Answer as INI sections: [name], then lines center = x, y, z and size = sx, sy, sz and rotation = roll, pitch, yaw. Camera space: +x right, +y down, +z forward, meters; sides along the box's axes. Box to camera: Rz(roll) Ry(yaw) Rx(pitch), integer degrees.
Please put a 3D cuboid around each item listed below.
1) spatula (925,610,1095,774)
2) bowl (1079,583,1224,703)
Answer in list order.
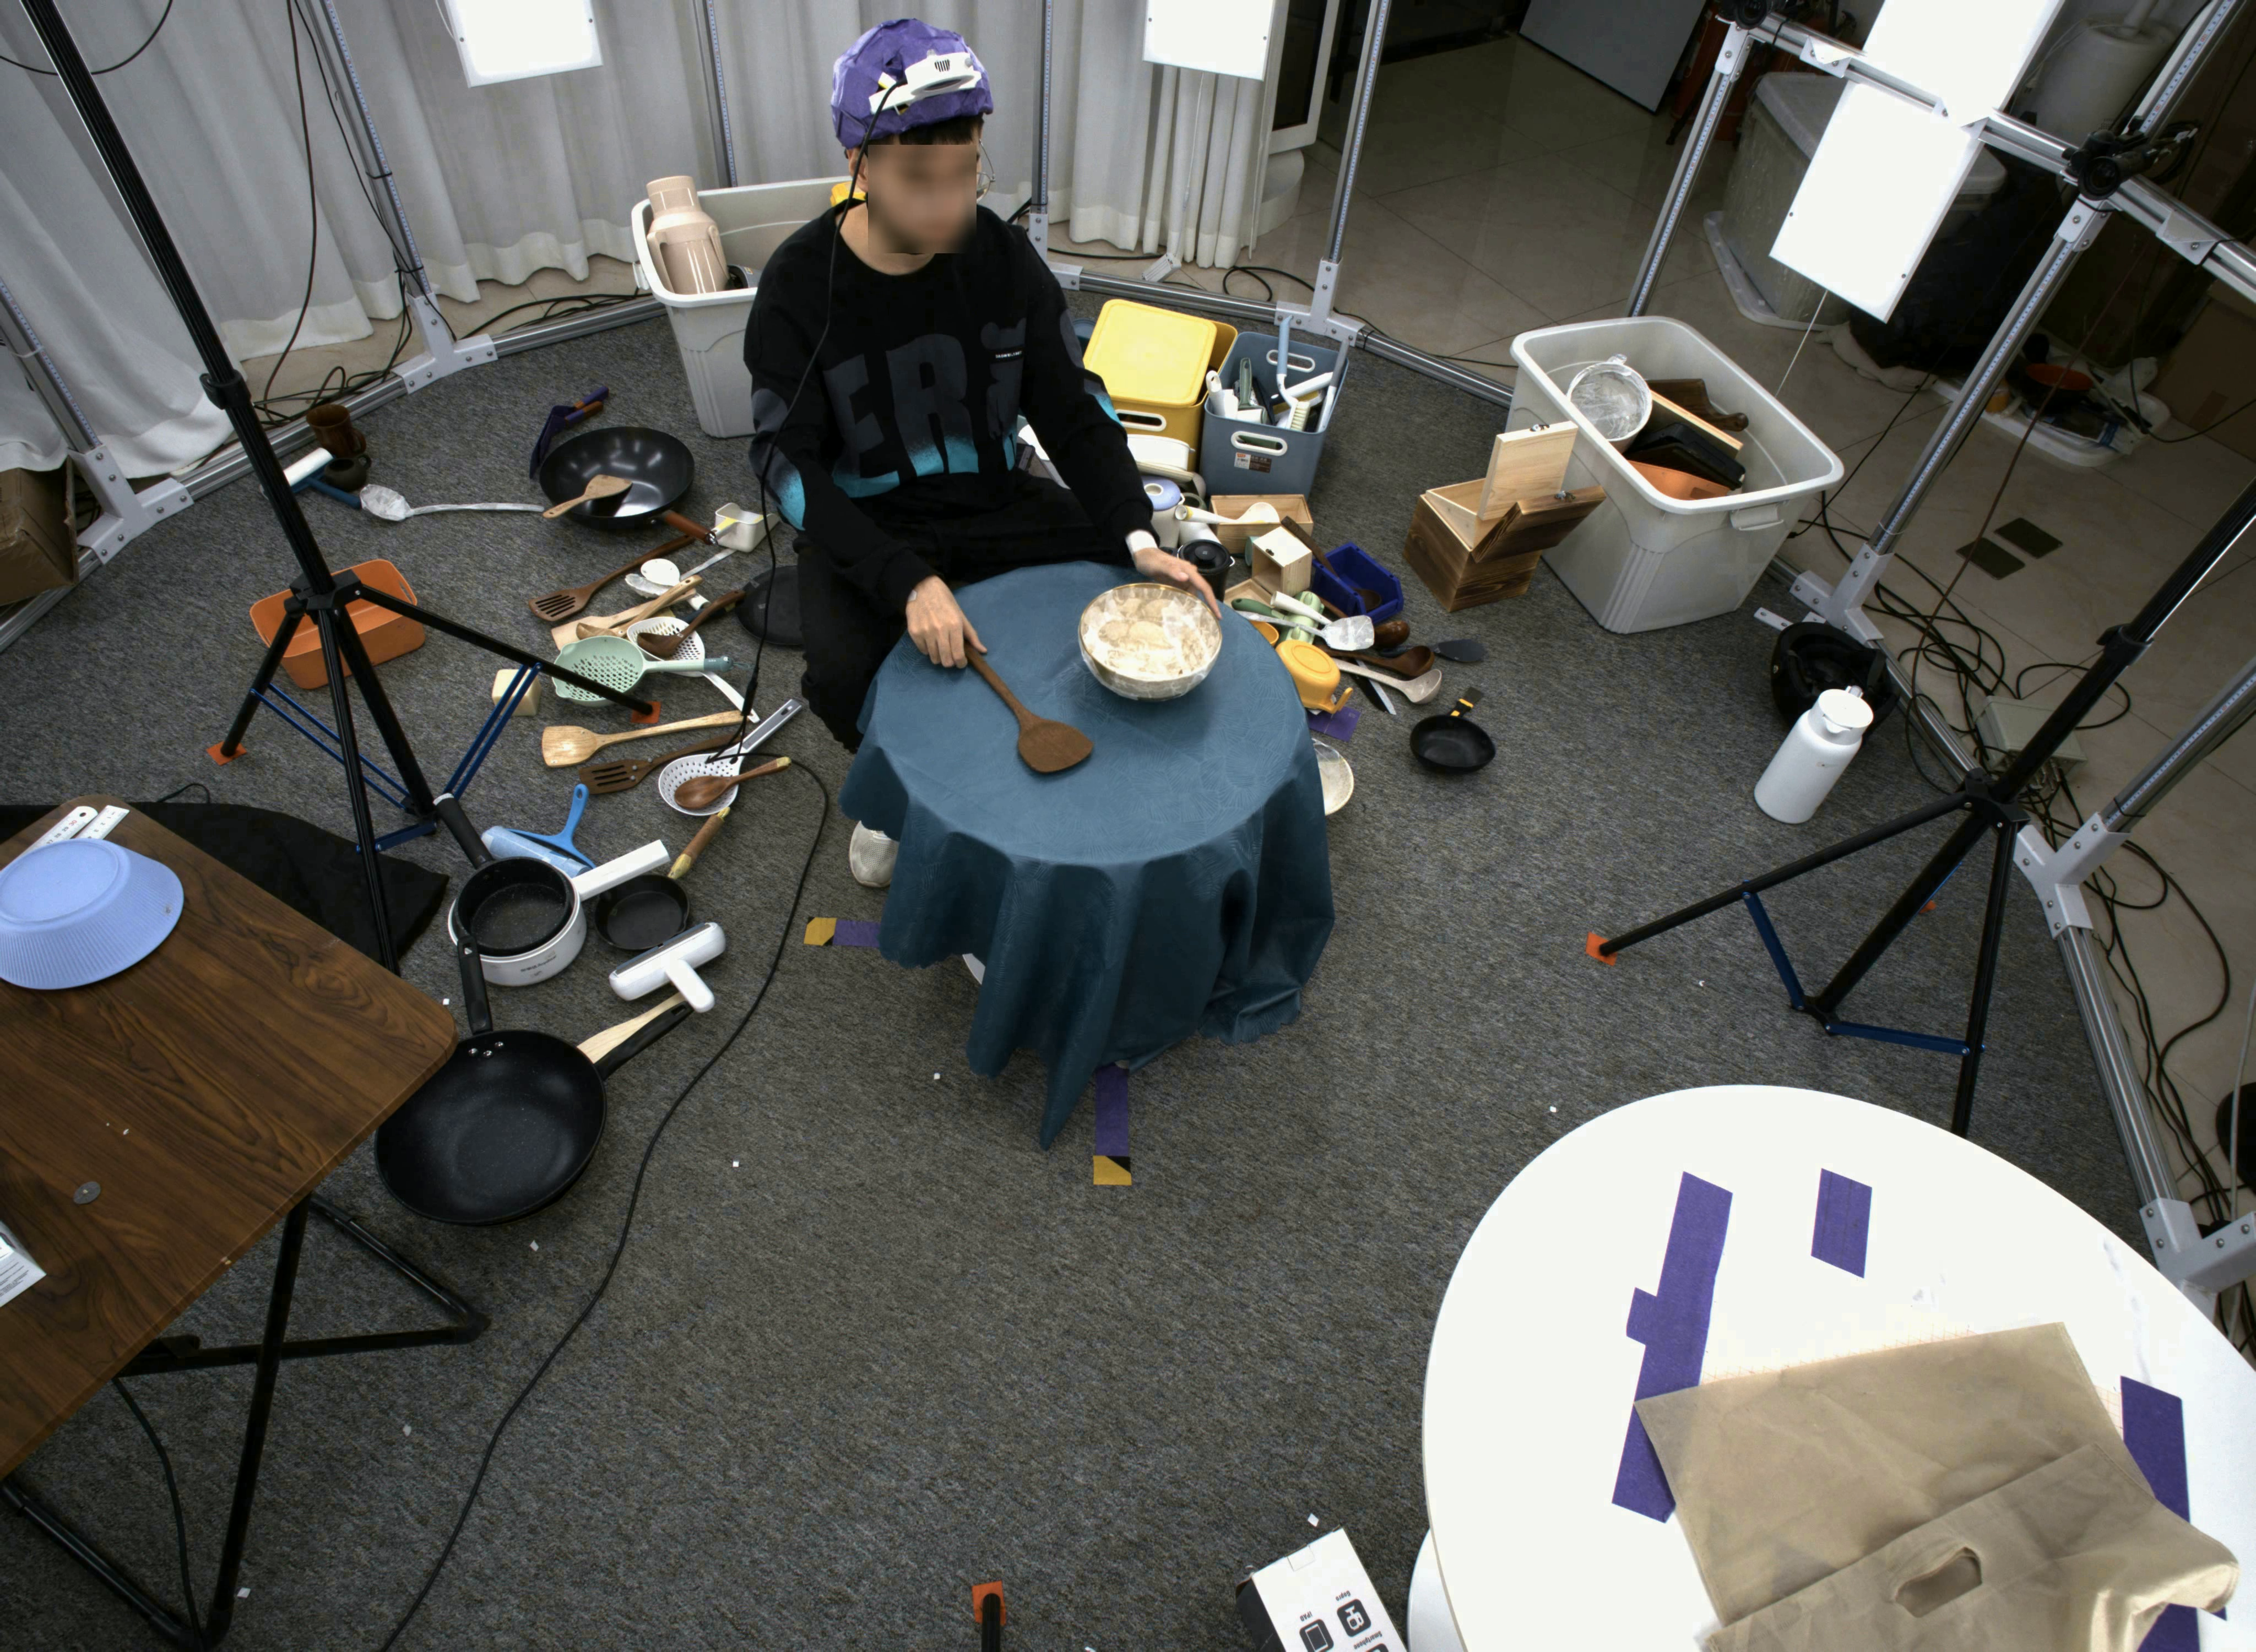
[spatula]
center = -0.187, -0.202, 1.839
size = 0.096, 0.015, 0.393
rotation = -26, 55, -24
[bowl]
center = 0.032, -0.248, 1.842
size = 0.214, 0.092, 0.220
rotation = 1, 49, -1
